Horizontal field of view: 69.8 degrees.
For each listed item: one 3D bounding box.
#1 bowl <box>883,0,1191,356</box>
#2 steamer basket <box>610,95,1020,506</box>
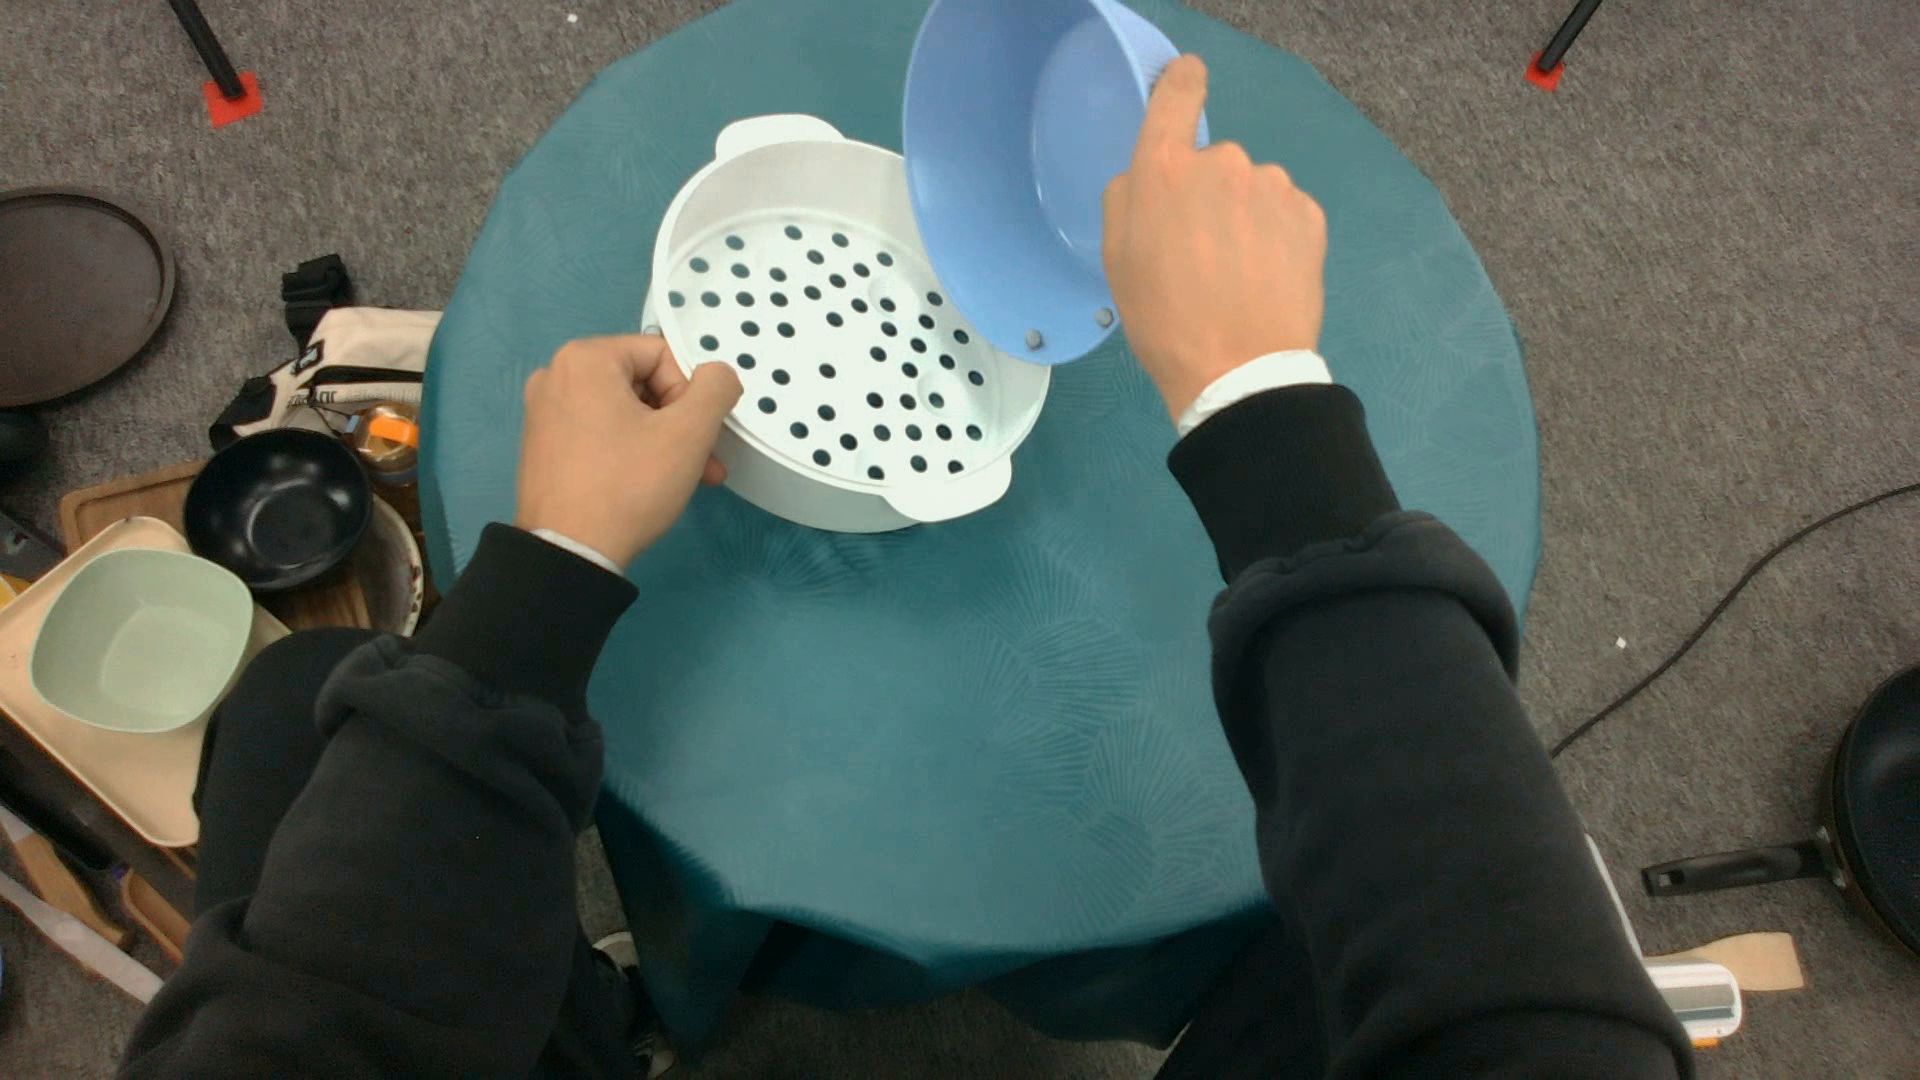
[{"bbox_3d":[0.043,-0.178,0.642,0.070,0.175,0.176,-19,70,-36],"label":"bowl"},{"bbox_3d":[-0.072,-0.113,0.686,0.202,0.069,0.231,-20,73,-32],"label":"steamer basket"}]
